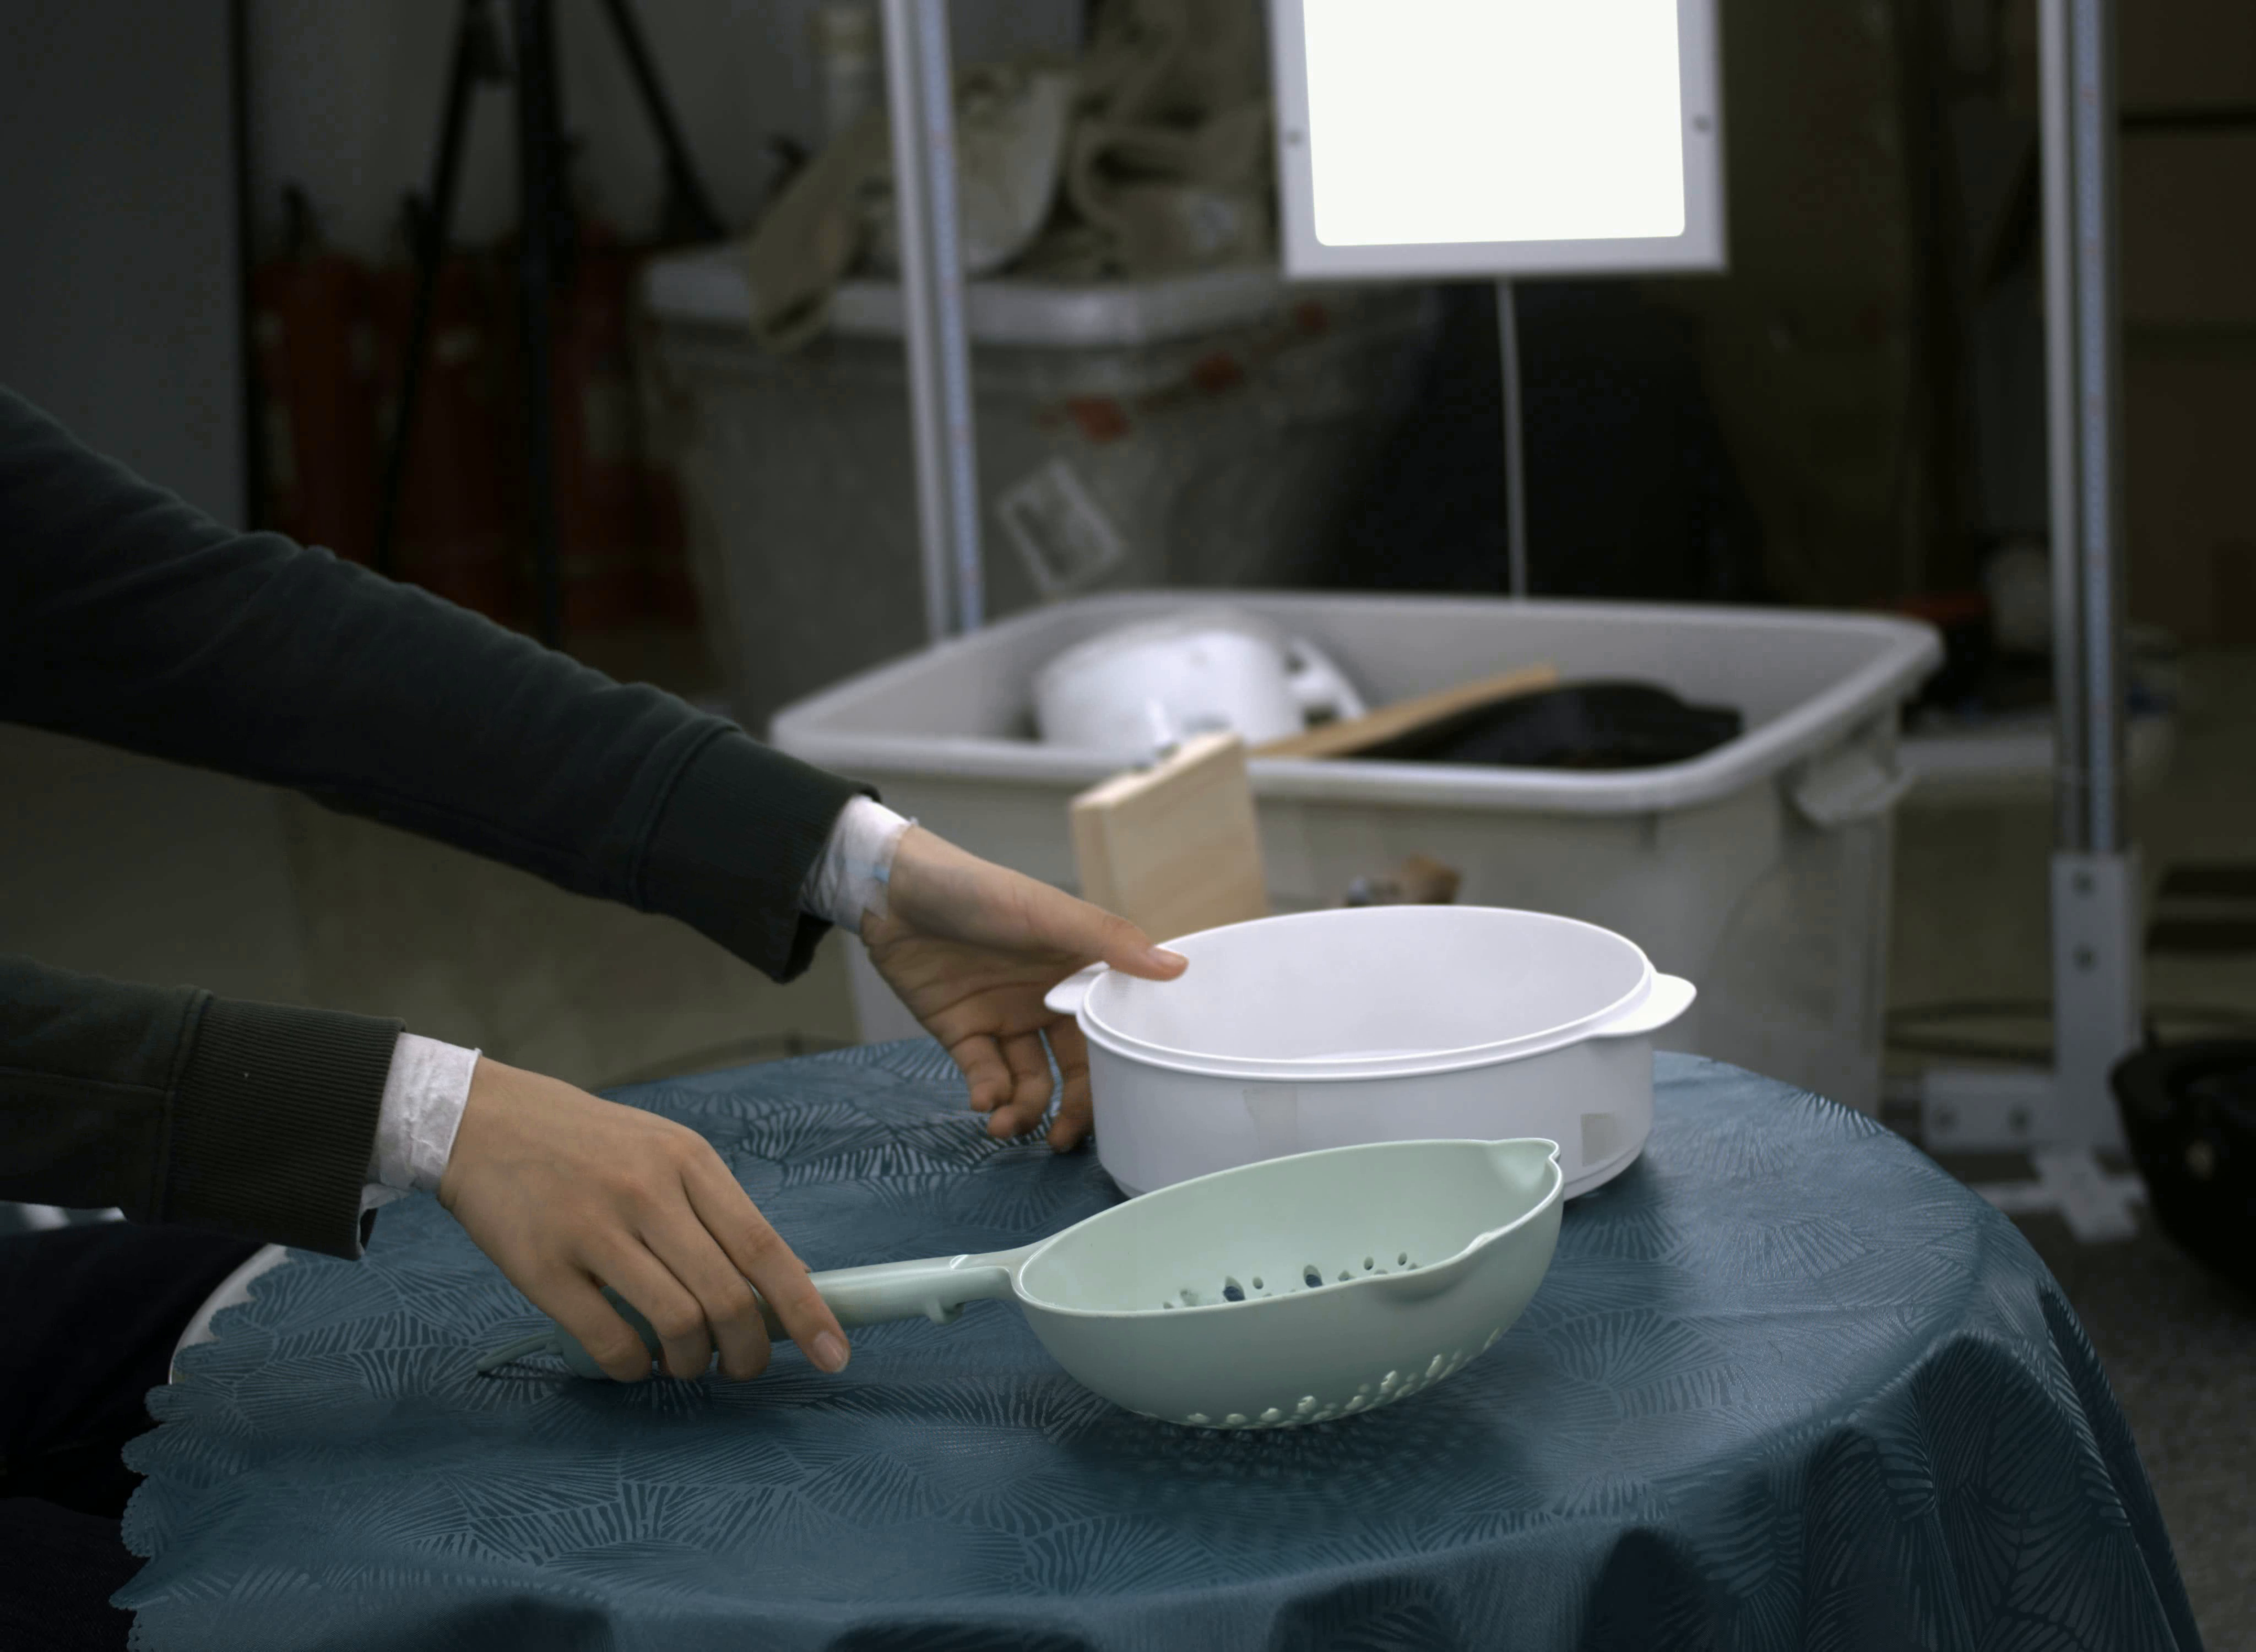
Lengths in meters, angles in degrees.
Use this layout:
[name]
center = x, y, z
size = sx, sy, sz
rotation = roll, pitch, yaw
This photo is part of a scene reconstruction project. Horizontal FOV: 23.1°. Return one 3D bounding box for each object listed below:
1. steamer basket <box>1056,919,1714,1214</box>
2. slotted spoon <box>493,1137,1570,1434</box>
[steamer basket]
center = 0.089, 0.087, 1.893
size = 0.234, 0.069, 0.198
rotation = 1, 14, 23
[slotted spoon]
center = -0.038, 0.144, 1.703
size = 0.364, 0.075, 0.166
rotation = 0, 13, 21
